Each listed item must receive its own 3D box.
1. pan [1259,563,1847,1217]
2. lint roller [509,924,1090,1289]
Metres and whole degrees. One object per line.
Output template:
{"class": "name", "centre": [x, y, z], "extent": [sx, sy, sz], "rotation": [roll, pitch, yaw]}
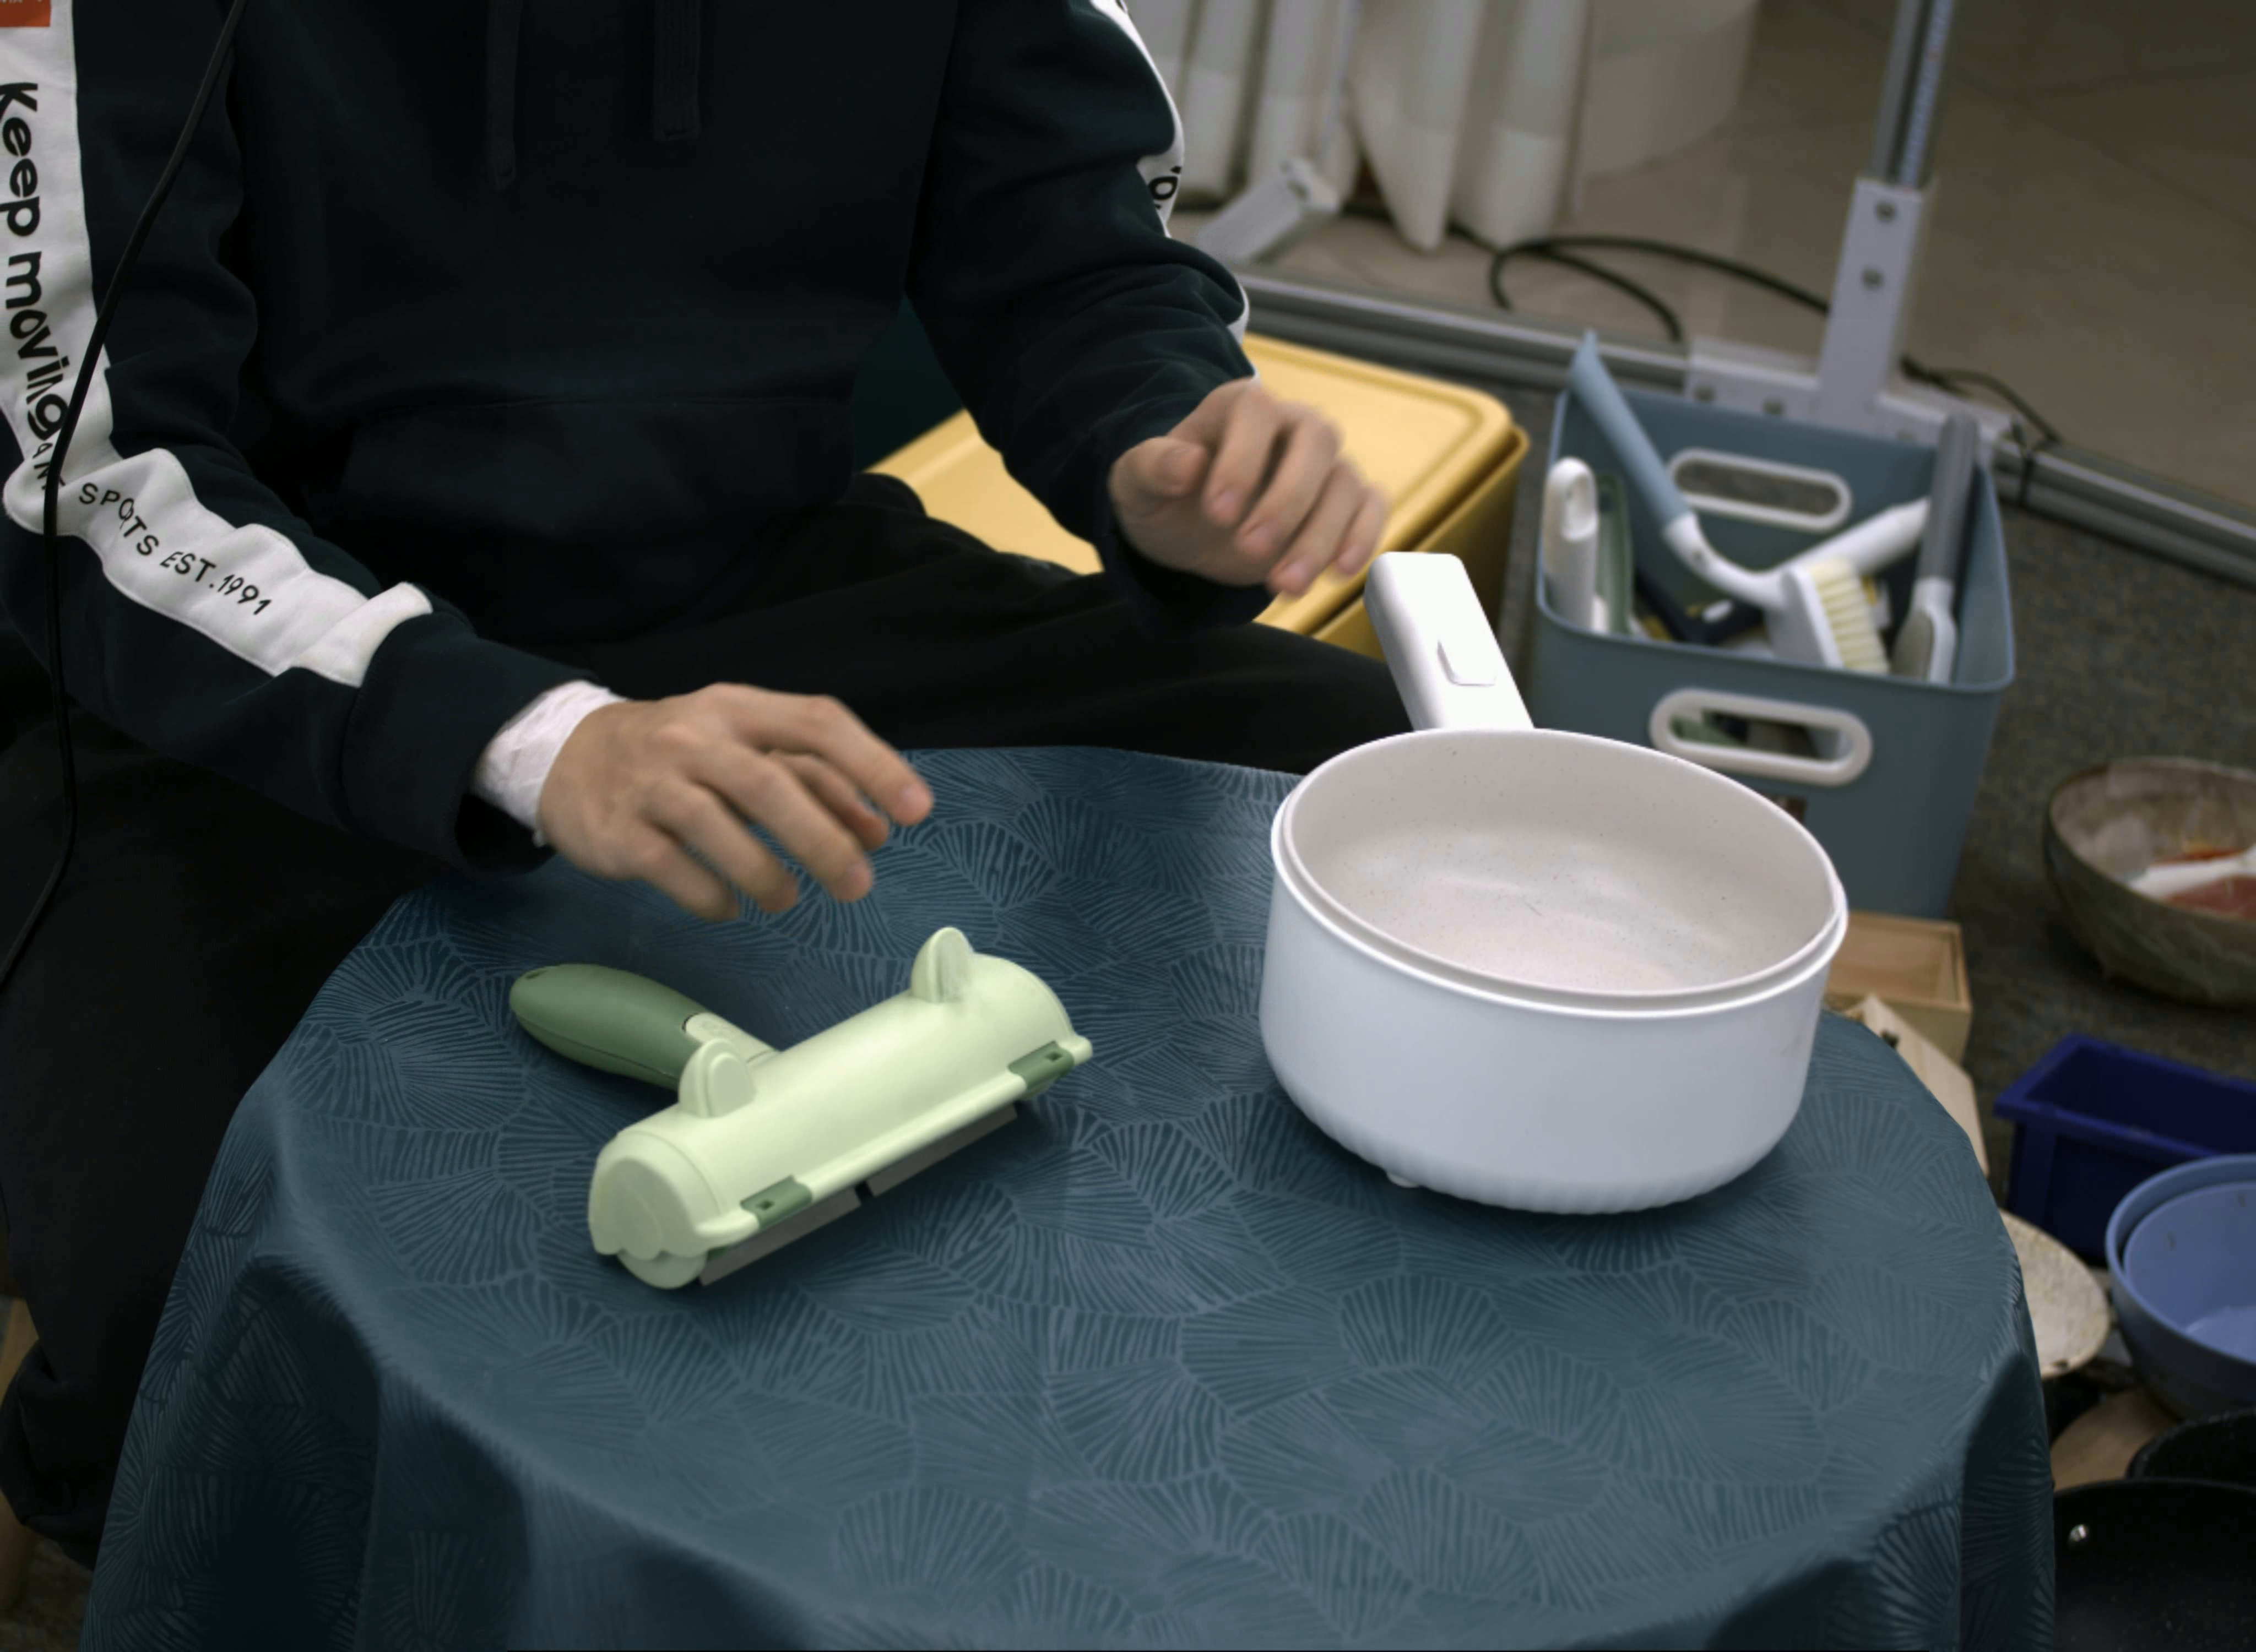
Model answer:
{"class": "pan", "centre": [0.134, 0.020, 1.925], "extent": [0.200, 0.102, 0.357], "rotation": [1, 27, -9]}
{"class": "lint roller", "centre": [-0.139, 0.067, 1.796], "extent": [0.184, 0.082, 0.198], "rotation": [30, 35, 29]}
